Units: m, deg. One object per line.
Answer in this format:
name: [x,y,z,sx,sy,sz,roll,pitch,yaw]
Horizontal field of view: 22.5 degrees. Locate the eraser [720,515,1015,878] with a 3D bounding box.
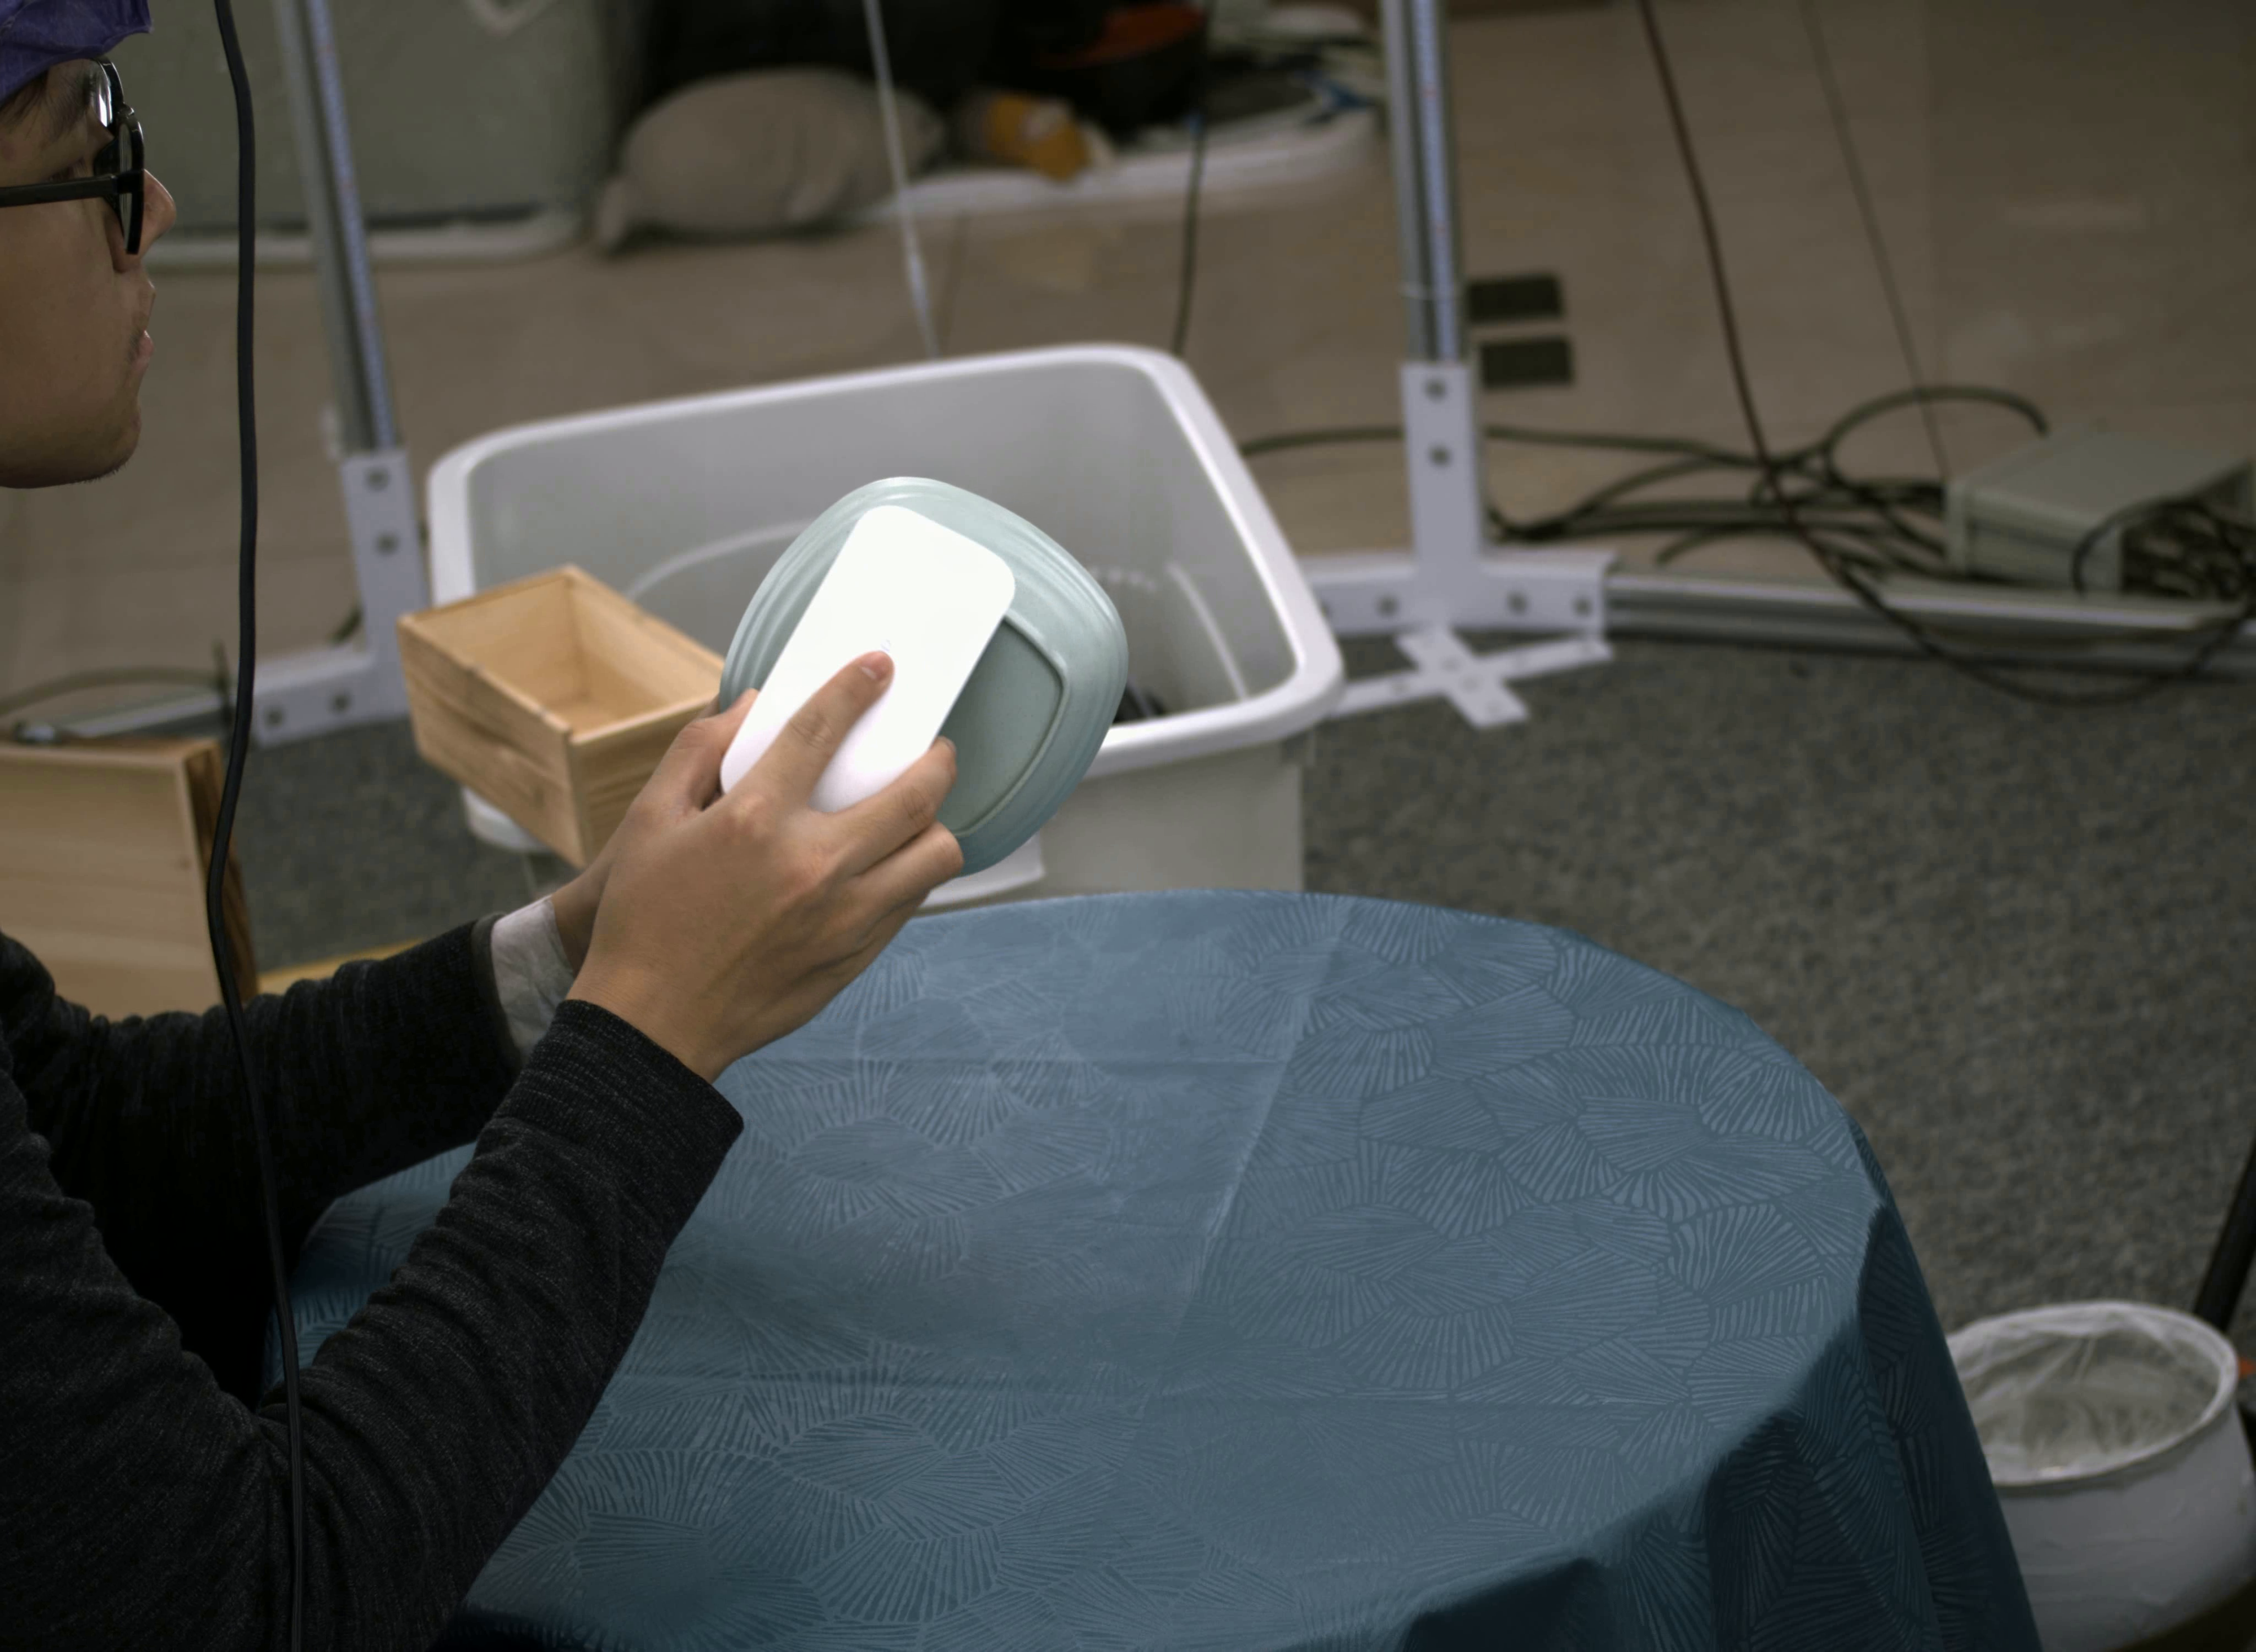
eraser: [-0.092,-0.046,1.970,0.063,0.035,0.130,28,67,1]

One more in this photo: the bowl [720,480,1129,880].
bowl: [-0.072,-0.047,2.043,0.151,0.153,0.058,-8,17,-3]
